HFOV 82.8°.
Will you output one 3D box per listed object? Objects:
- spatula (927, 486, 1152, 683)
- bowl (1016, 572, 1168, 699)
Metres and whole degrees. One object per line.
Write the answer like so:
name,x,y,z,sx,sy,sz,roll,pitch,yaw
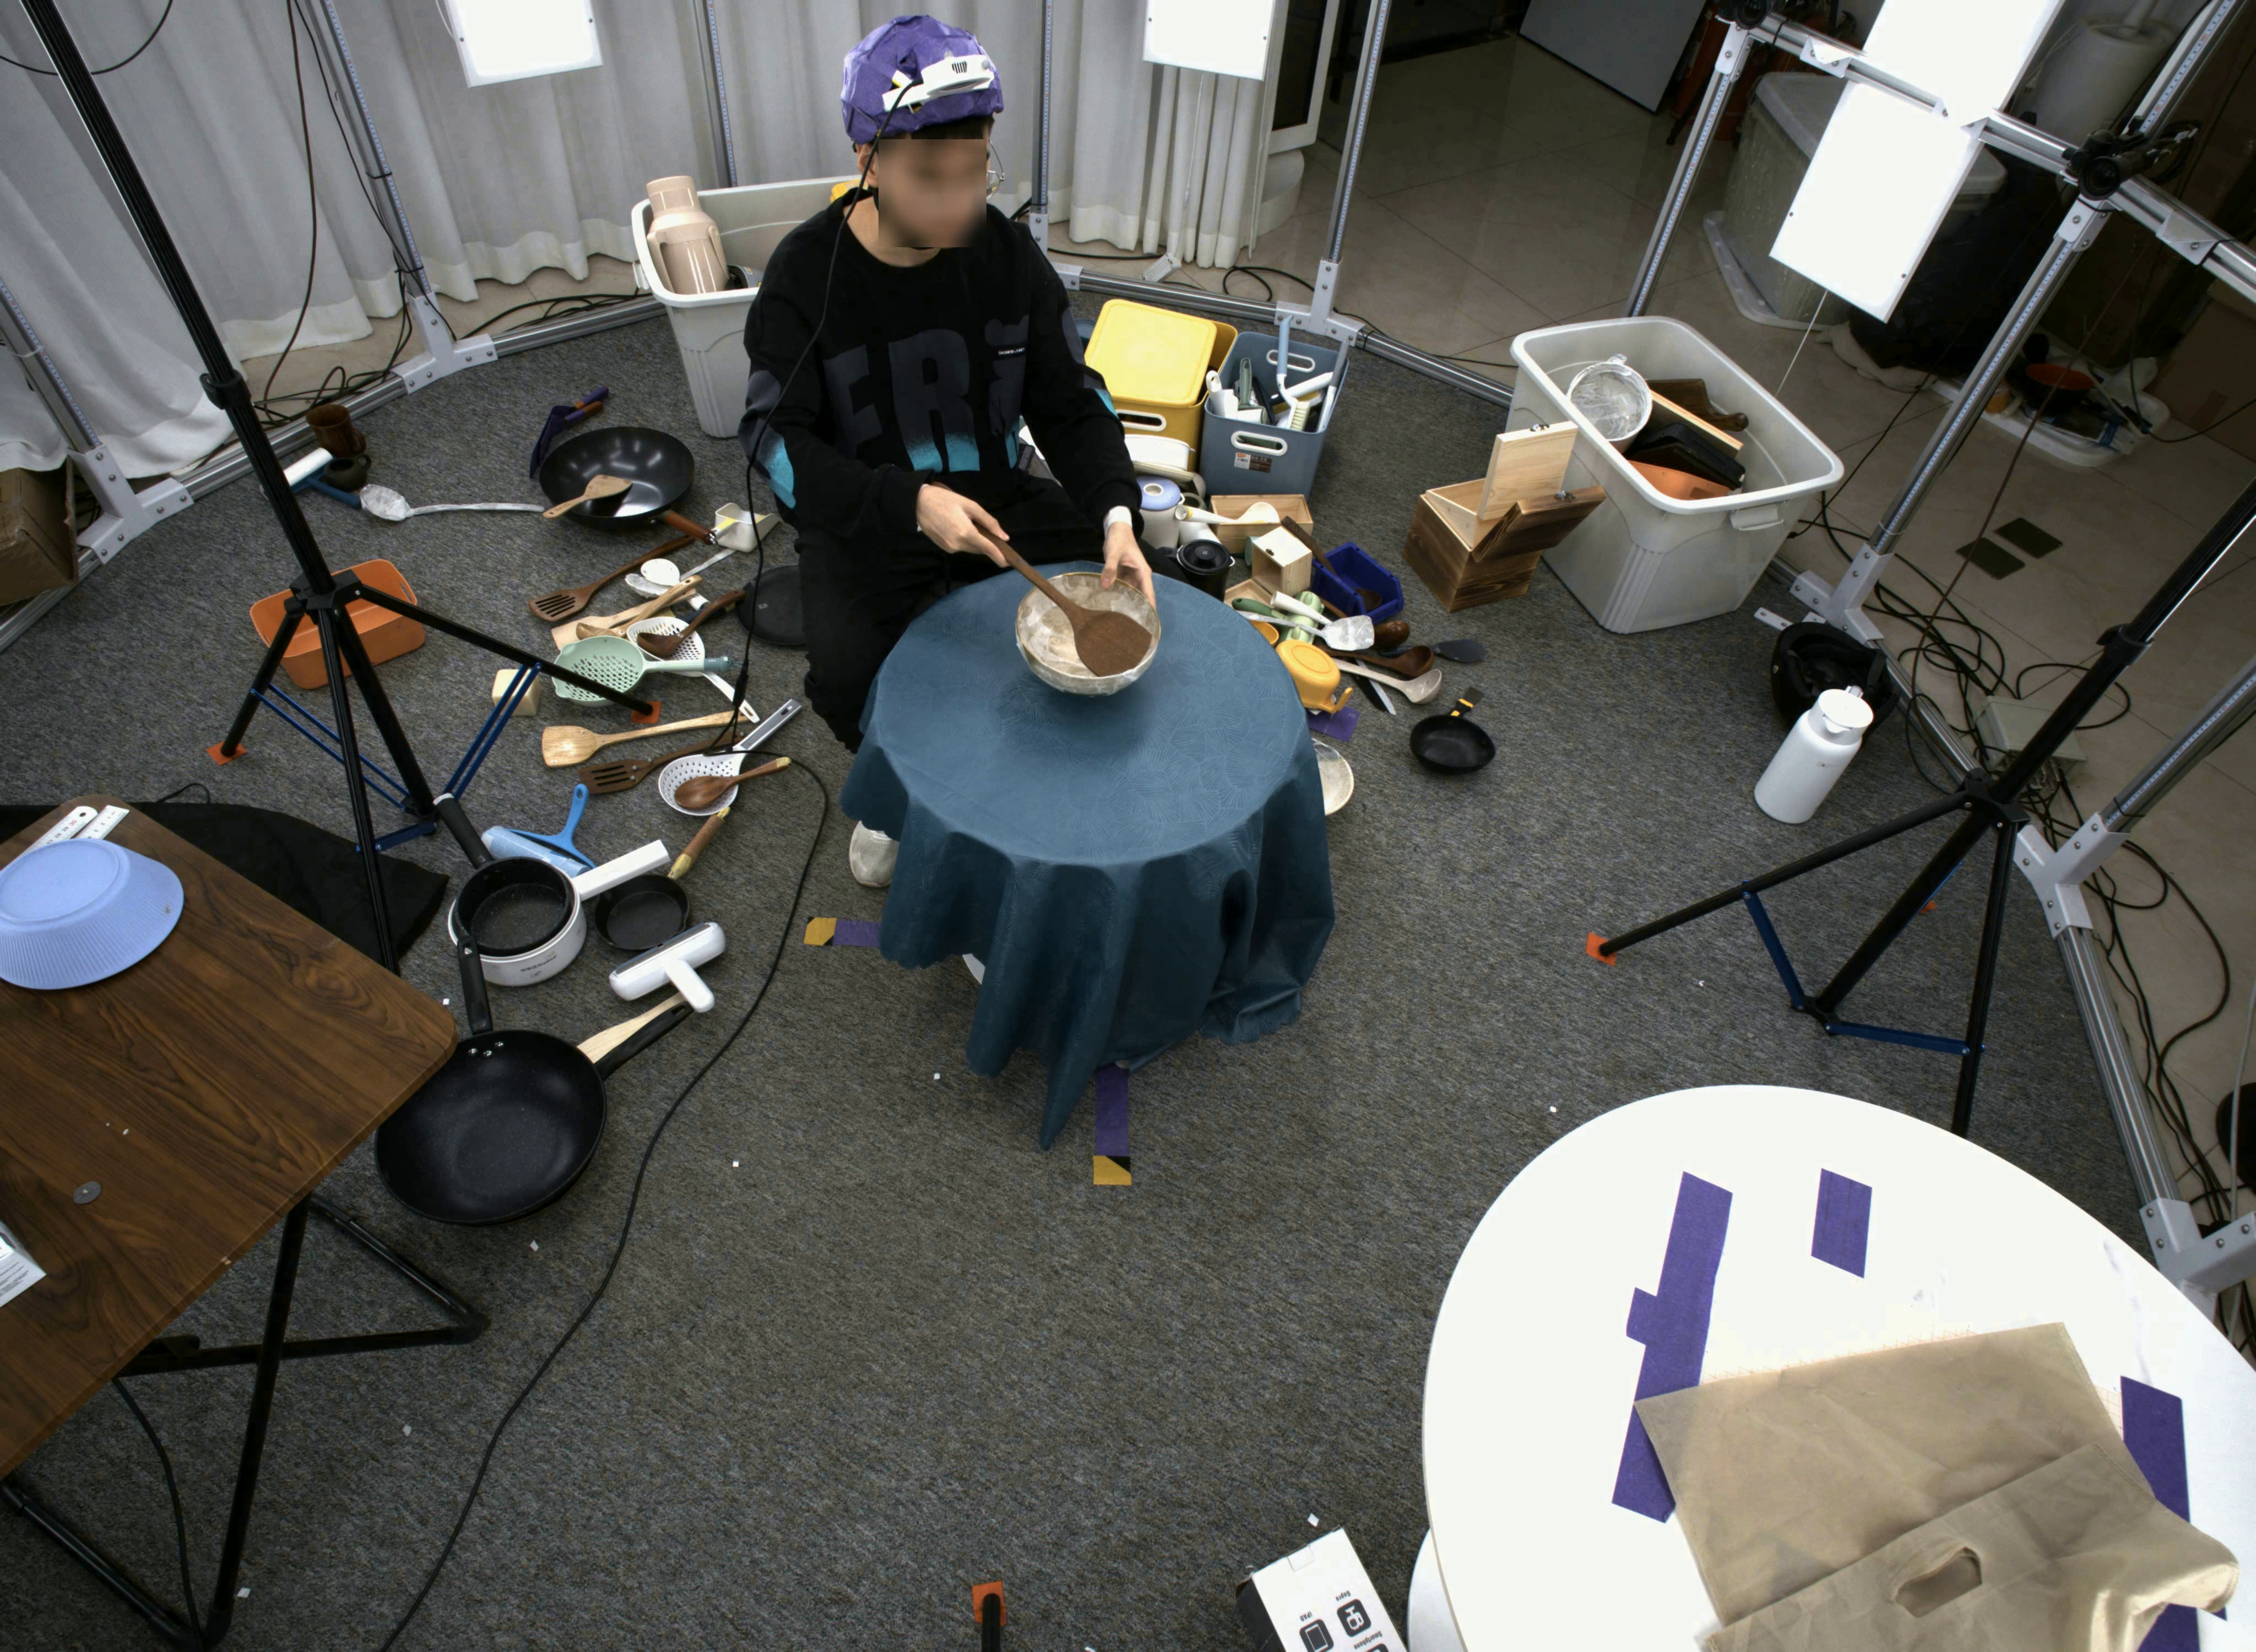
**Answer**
spatula,-0.131,-0.342,1.770,0.388,0.015,0.096,41,78,7
bowl,-0.055,-0.253,1.814,0.214,0.092,0.220,2,51,-3
